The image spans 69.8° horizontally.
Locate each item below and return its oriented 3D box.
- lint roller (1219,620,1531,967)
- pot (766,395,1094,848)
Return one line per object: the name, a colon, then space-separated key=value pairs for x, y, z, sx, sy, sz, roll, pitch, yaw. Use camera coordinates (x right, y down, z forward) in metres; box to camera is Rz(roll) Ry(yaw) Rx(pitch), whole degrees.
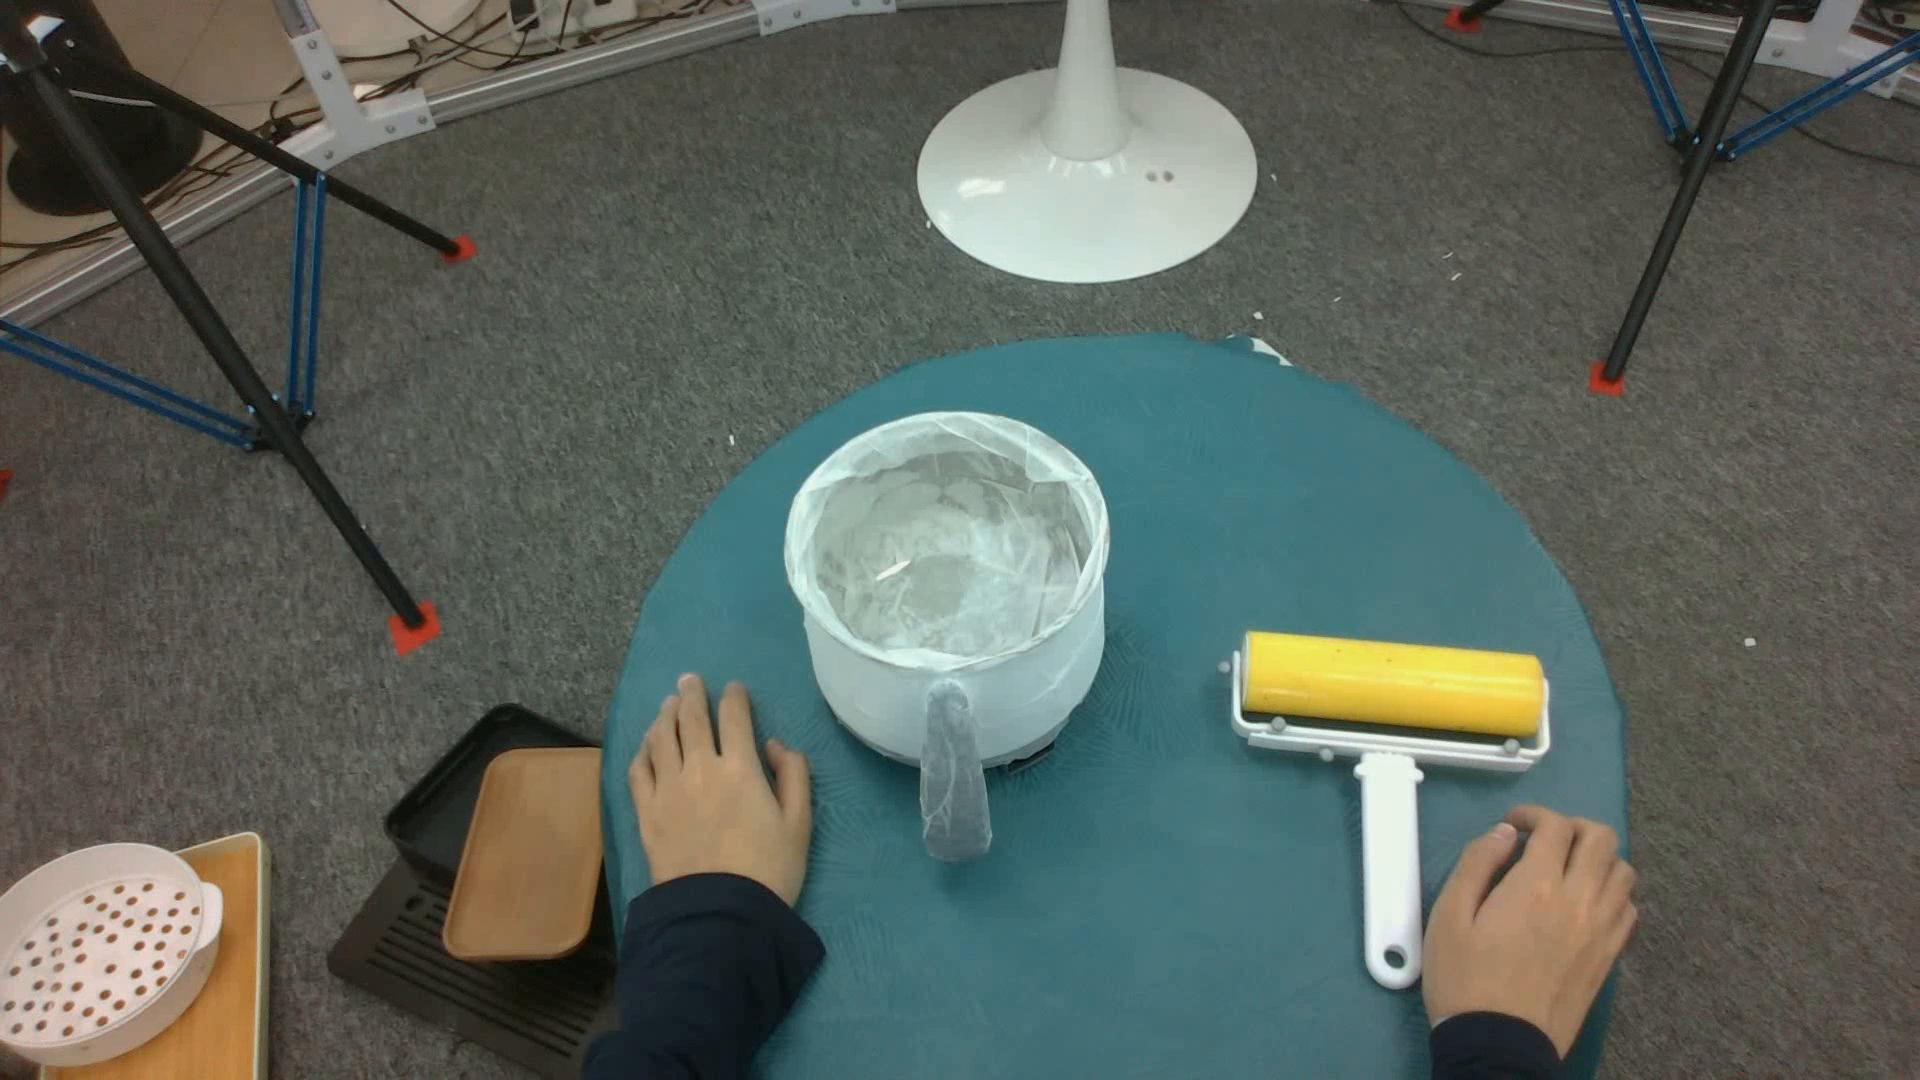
lint roller: x=0.231 y=0.132 z=0.757 sx=0.174 sy=0.051 sz=0.193 roll=3 pitch=52 yaw=6
pot: x=-0.011 y=0.047 z=0.775 sx=0.179 sy=0.136 sz=0.235 roll=-4 pitch=52 yaw=1
